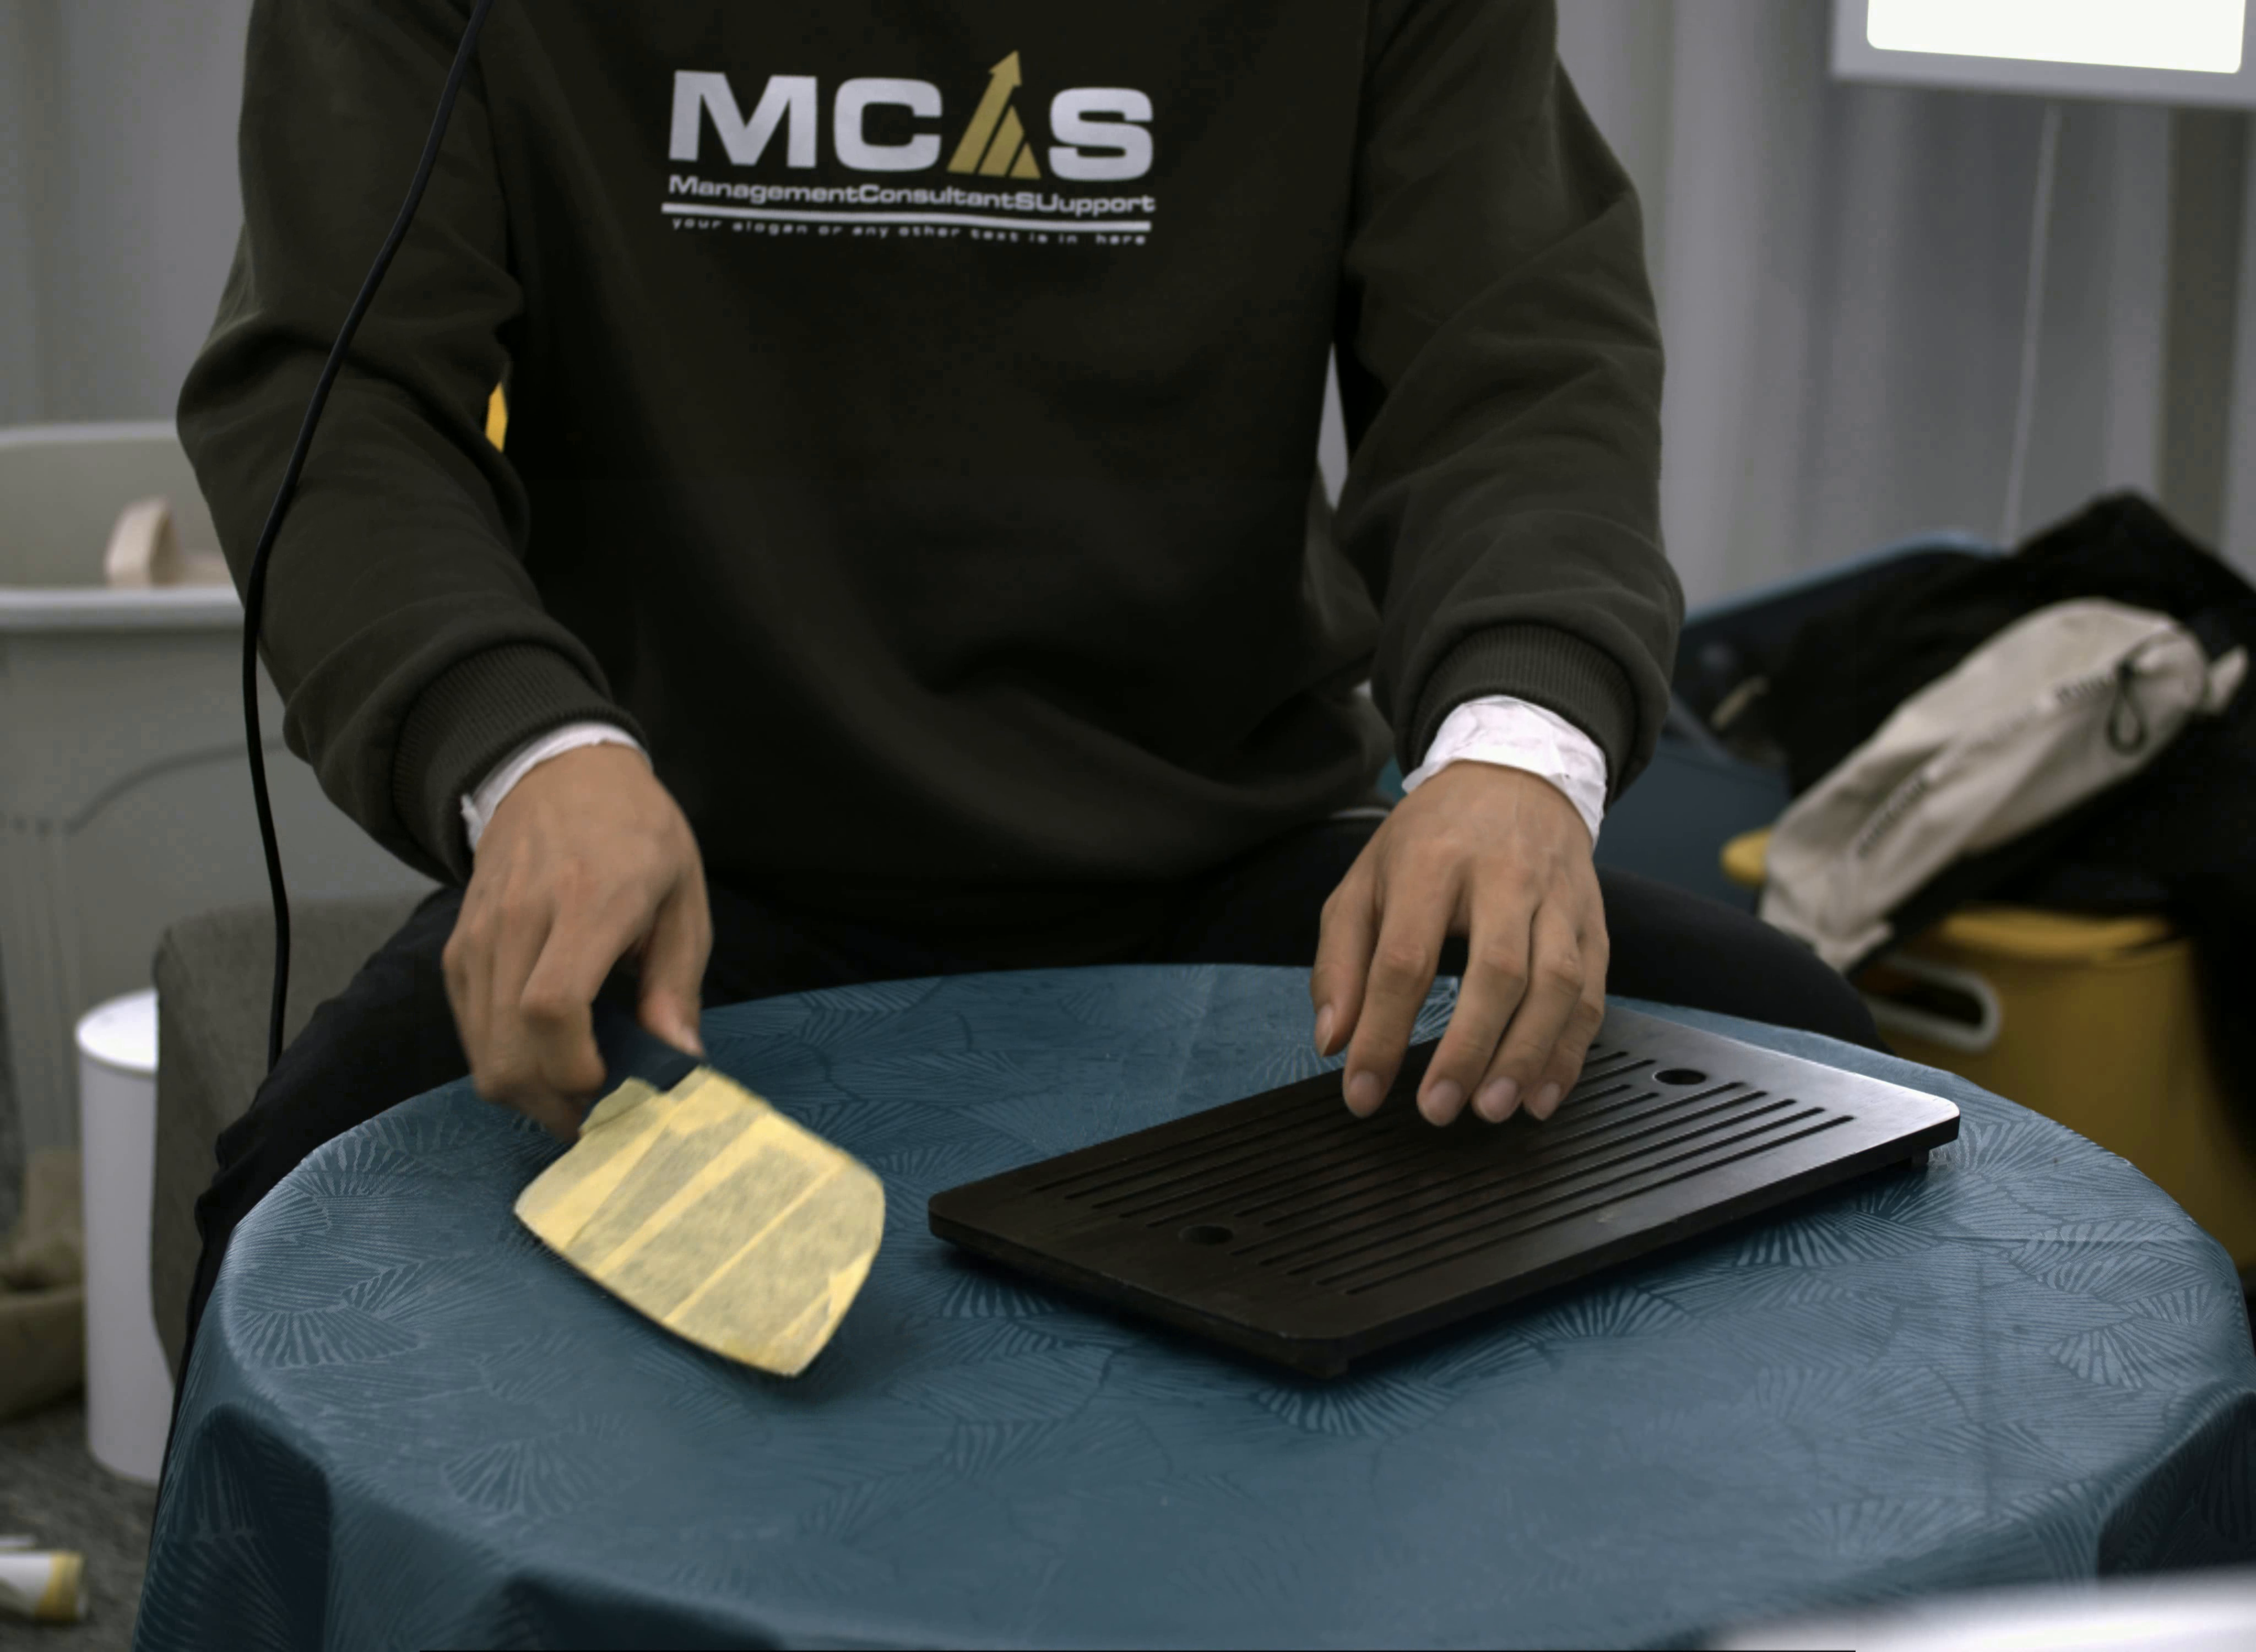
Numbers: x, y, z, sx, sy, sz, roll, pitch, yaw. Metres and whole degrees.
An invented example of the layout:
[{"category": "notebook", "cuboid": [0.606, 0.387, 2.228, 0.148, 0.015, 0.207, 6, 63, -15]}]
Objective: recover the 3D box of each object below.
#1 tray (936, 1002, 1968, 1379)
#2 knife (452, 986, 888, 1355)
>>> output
[{"category": "tray", "cuboid": [0.103, 0.108, 1.610, 0.307, 0.019, 0.168, -14, 20, -43]}, {"category": "knife", "cuboid": [-0.148, 0.100, 1.568, 0.081, 0.027, 0.286, -36, 29, -15]}]
